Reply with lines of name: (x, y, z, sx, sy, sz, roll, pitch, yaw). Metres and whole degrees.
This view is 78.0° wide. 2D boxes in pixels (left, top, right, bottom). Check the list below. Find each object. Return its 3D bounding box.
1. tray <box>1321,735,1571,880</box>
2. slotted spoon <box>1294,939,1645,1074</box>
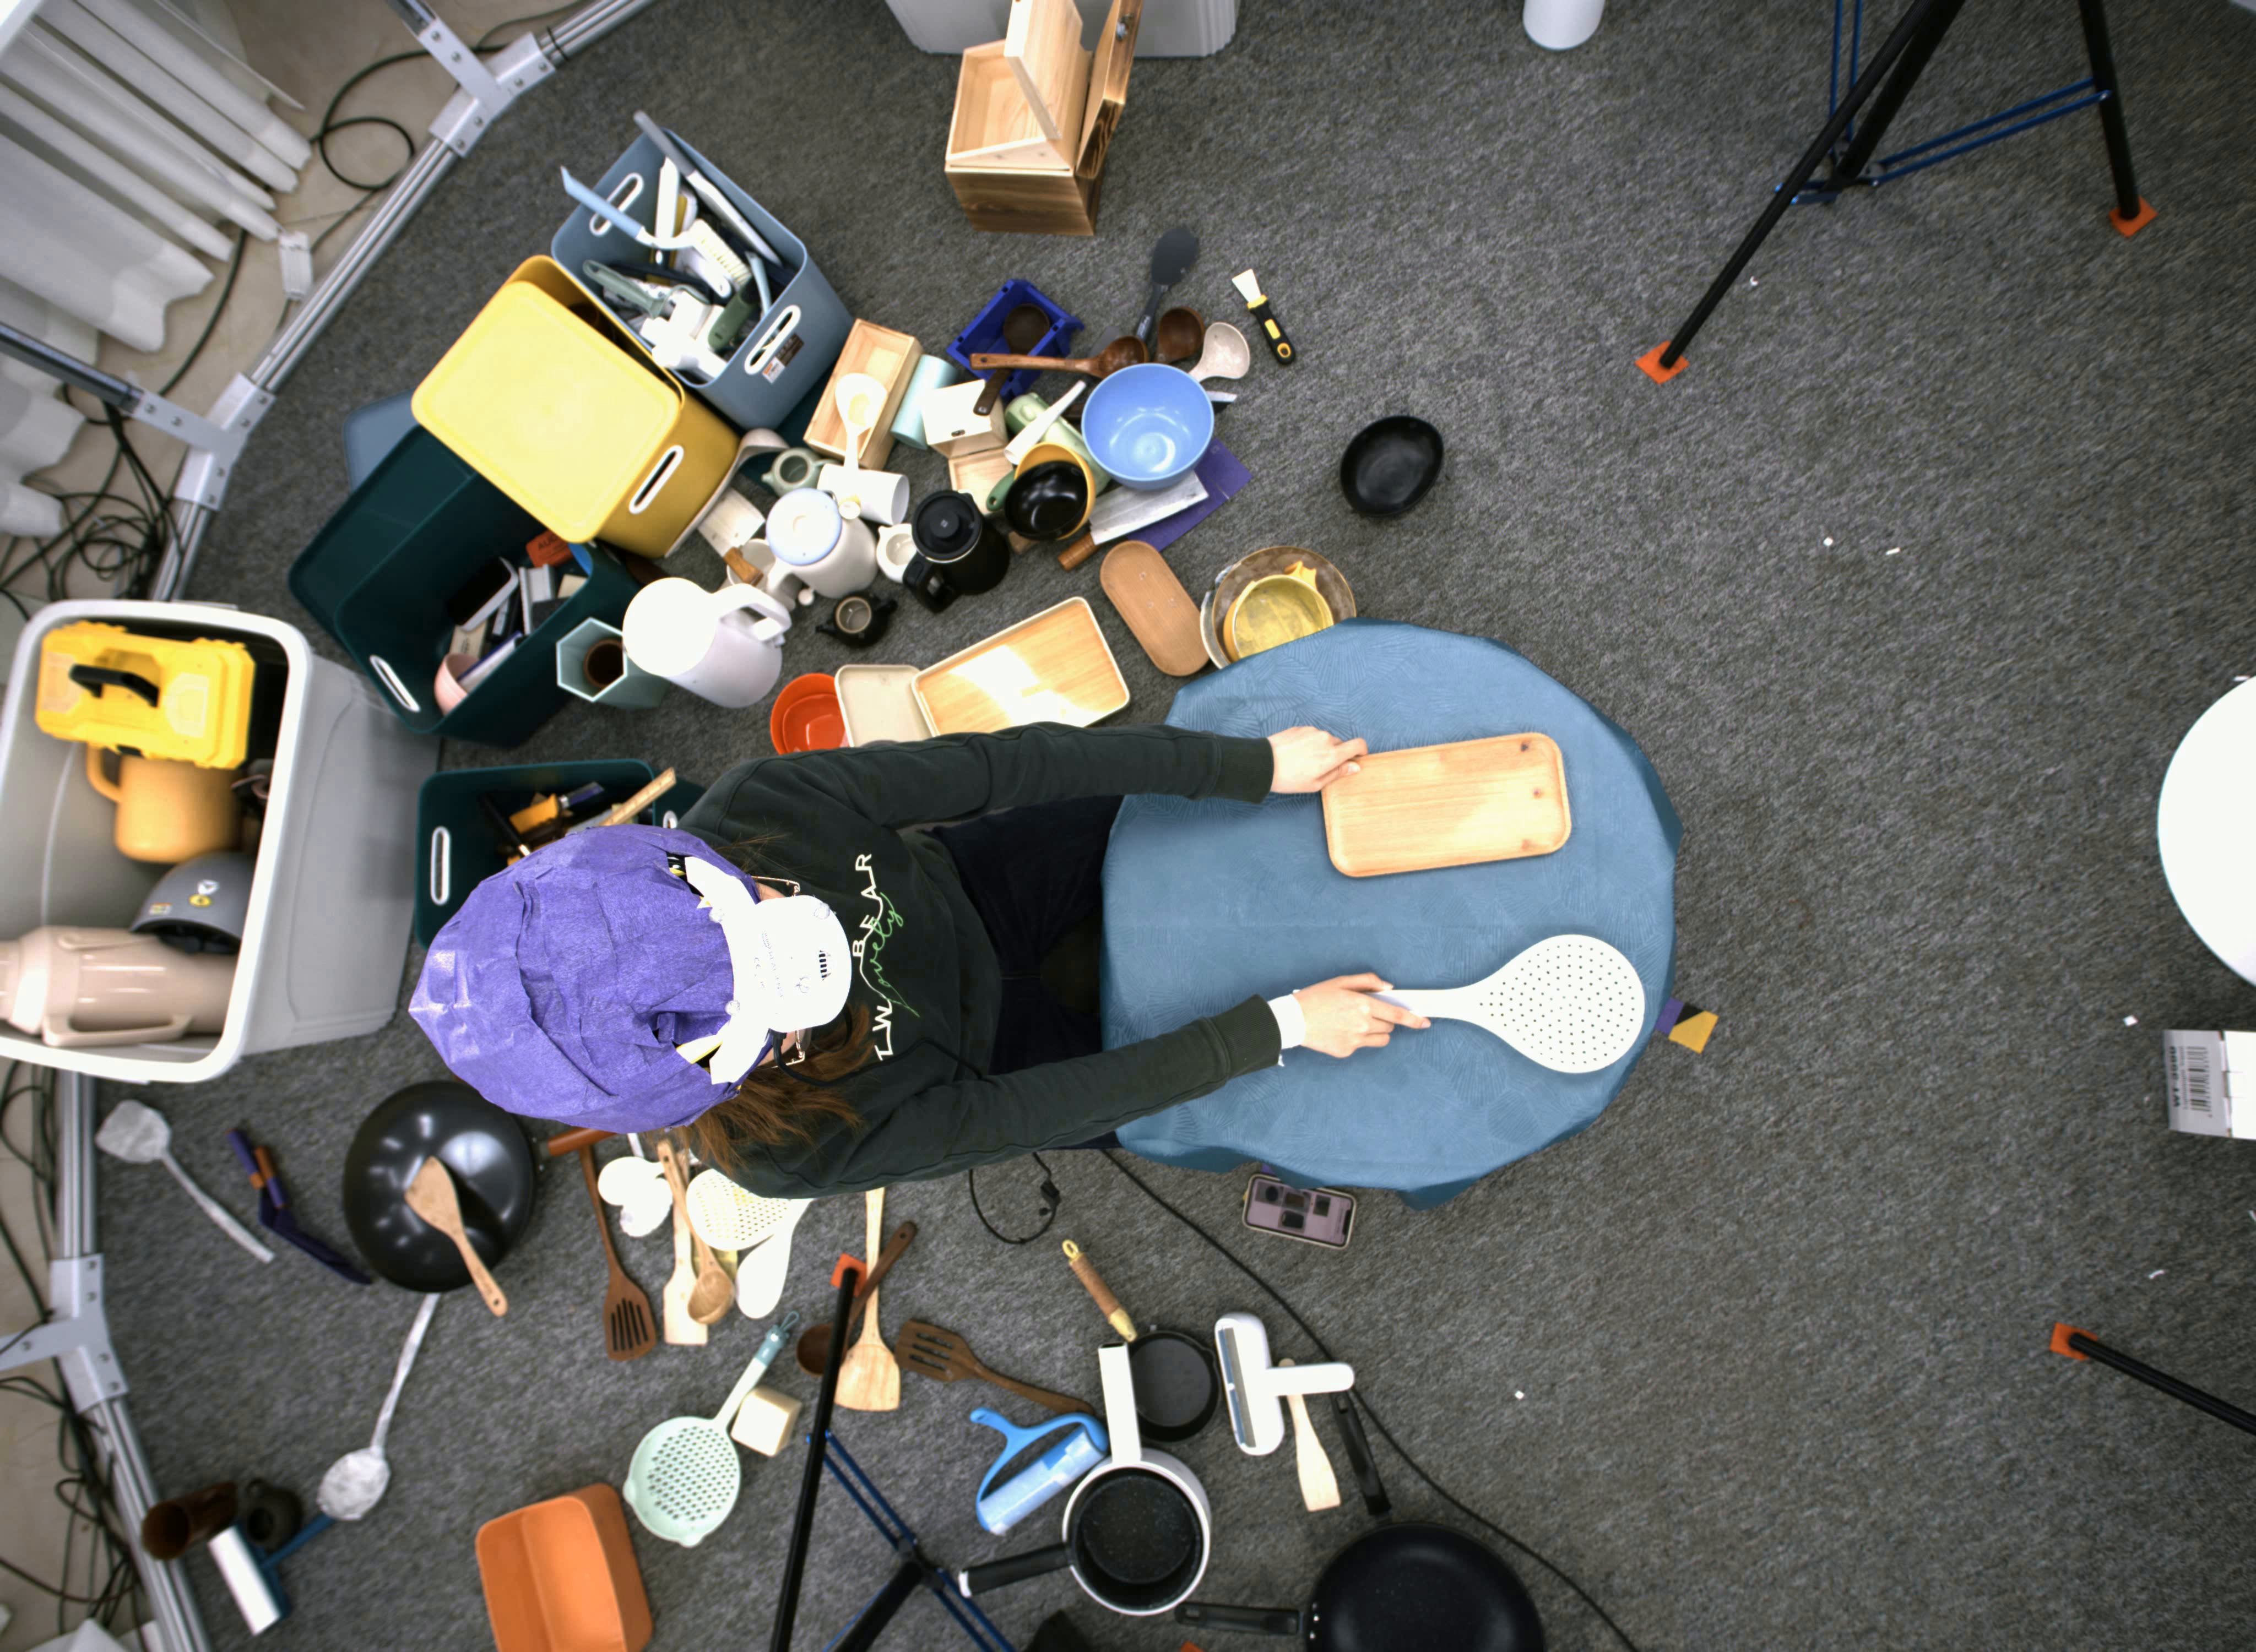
tray: (0.333, -0.020, 1.446, 0.252, 0.023, 0.130, -7, 86, 10)
slotted spoon: (0.346, 0.182, 1.418, 0.351, 0.046, 0.135, 0, 81, 10)
